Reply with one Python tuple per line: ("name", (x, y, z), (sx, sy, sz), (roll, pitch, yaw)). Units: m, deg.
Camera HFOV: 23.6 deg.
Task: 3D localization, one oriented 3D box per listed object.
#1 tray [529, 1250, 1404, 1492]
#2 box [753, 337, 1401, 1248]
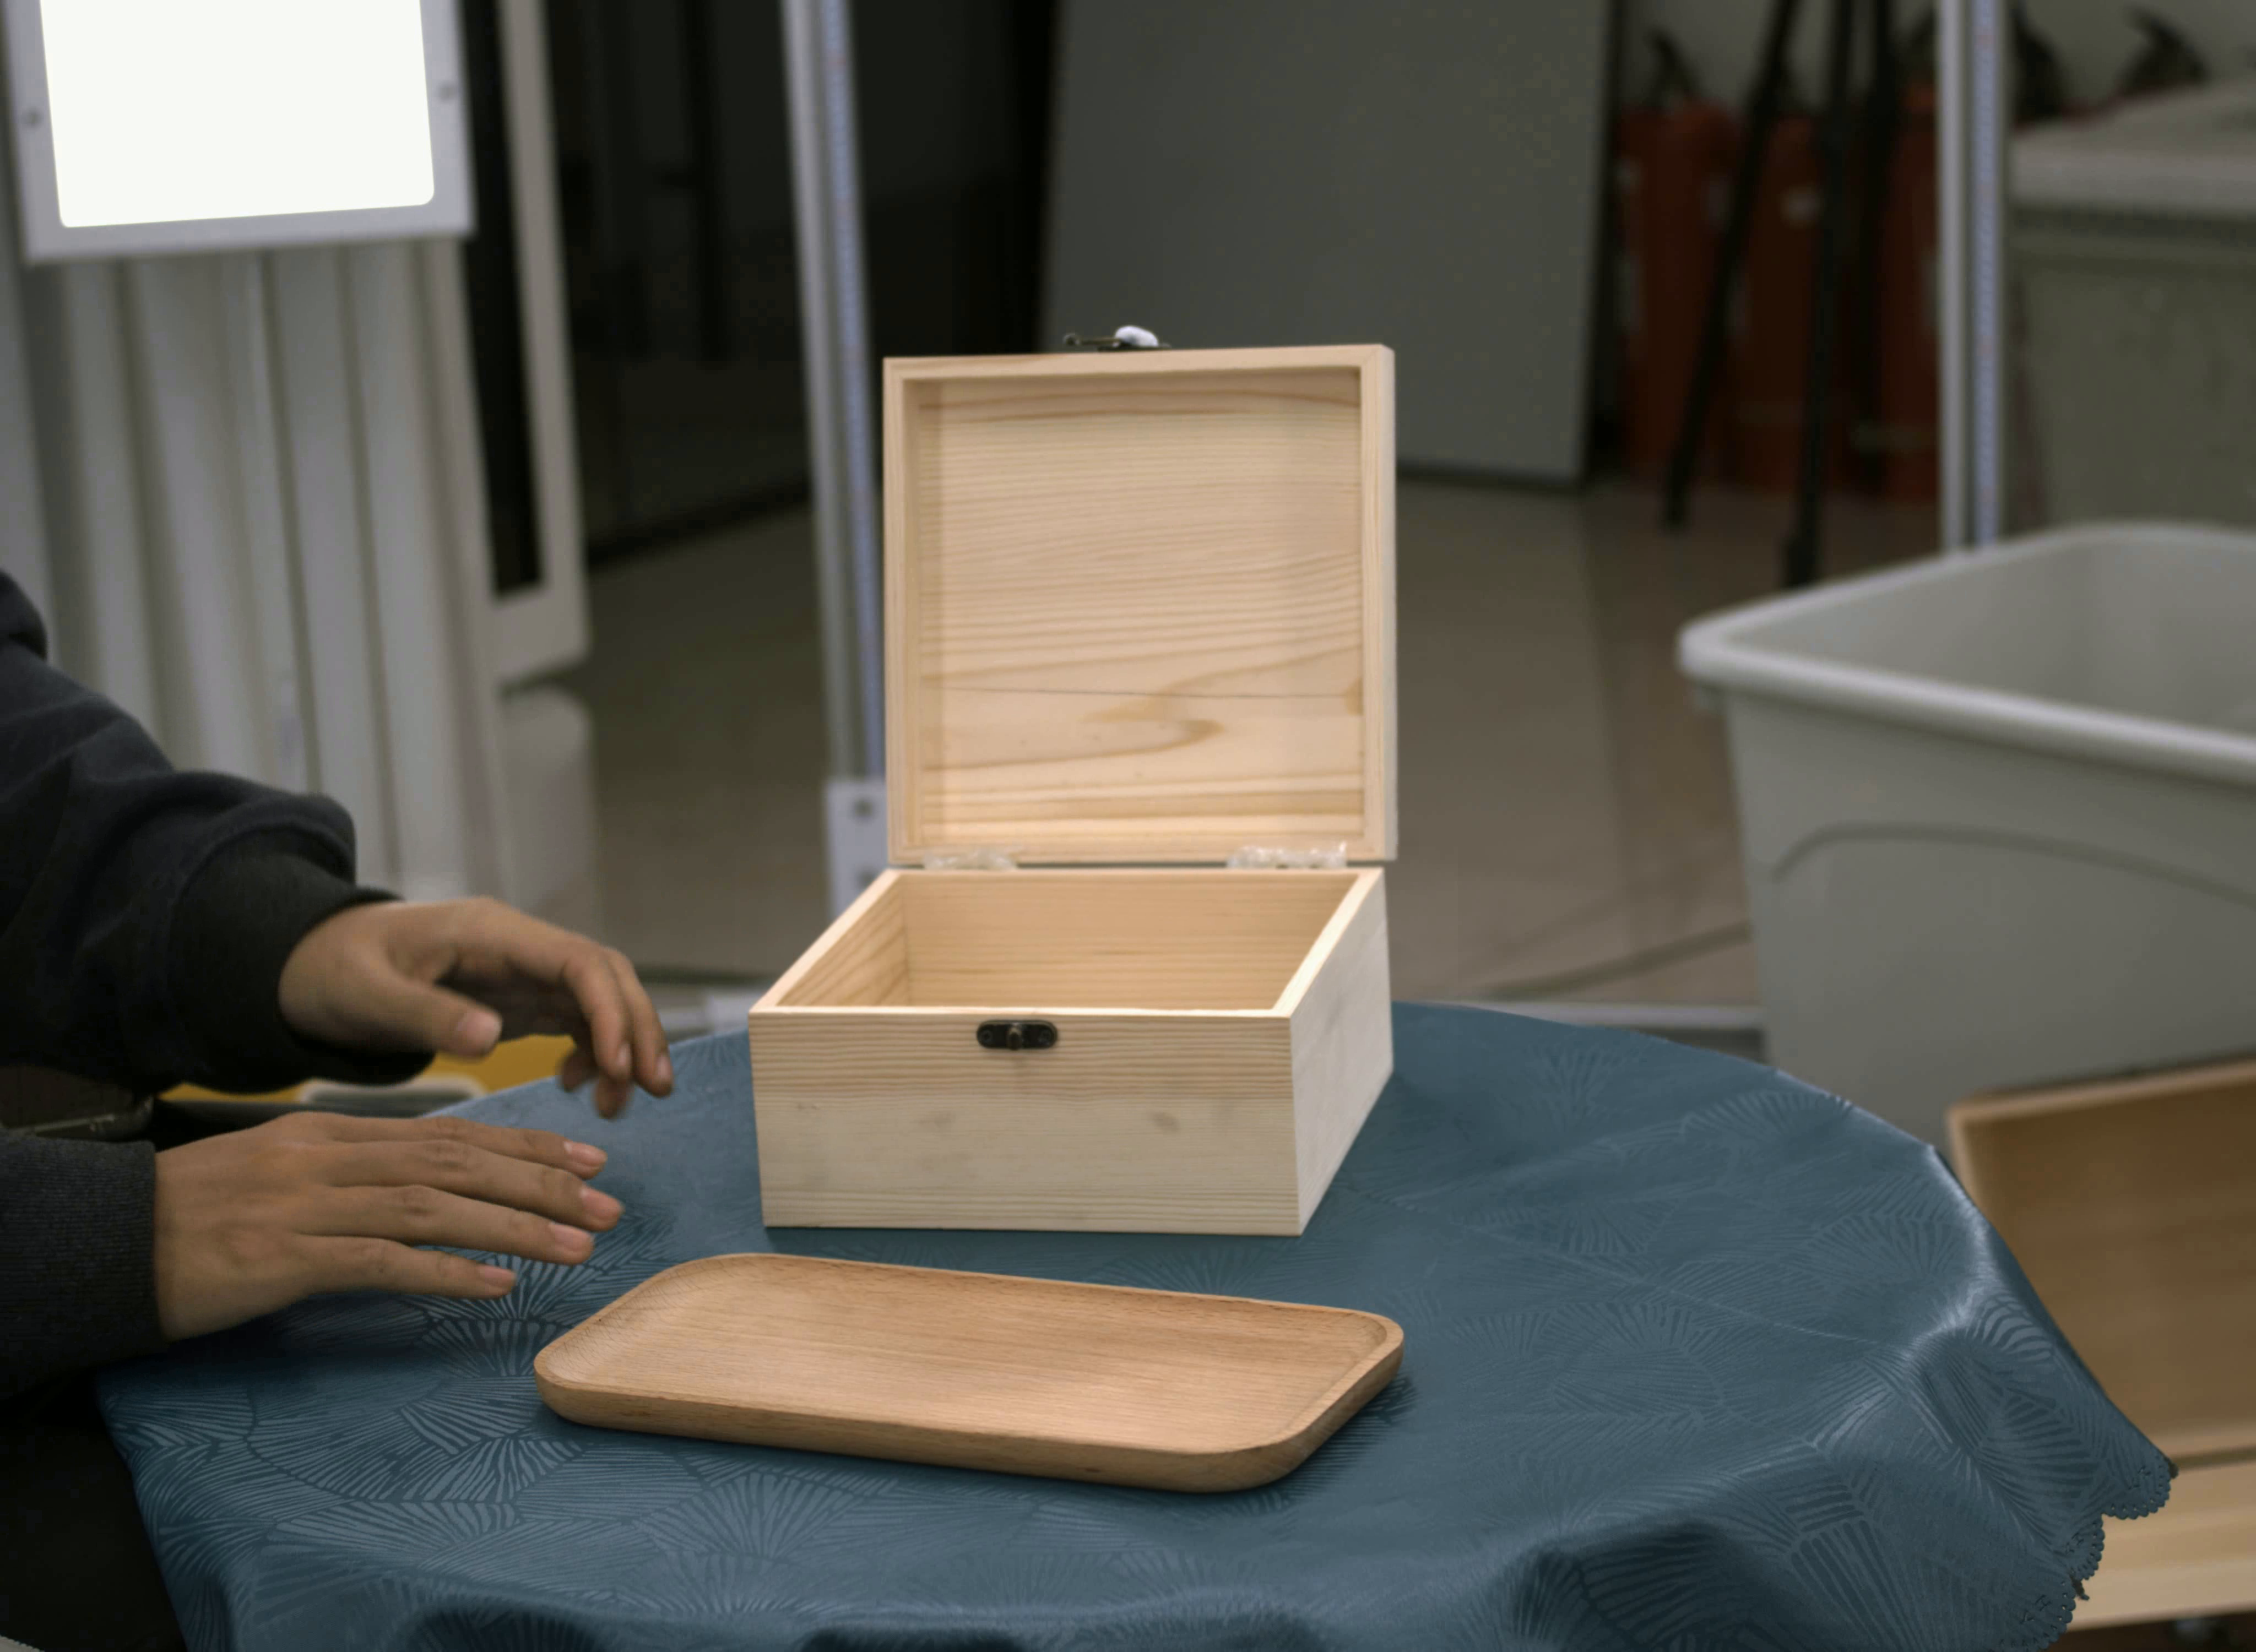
("tray", (-0.048, 0.159, 1.588), (0.251, 0.023, 0.129), (2, 12, 27))
("box", (-0.014, -0.017, 1.824), (0.181, 0.256, 0.263), (-3, 12, 13))
